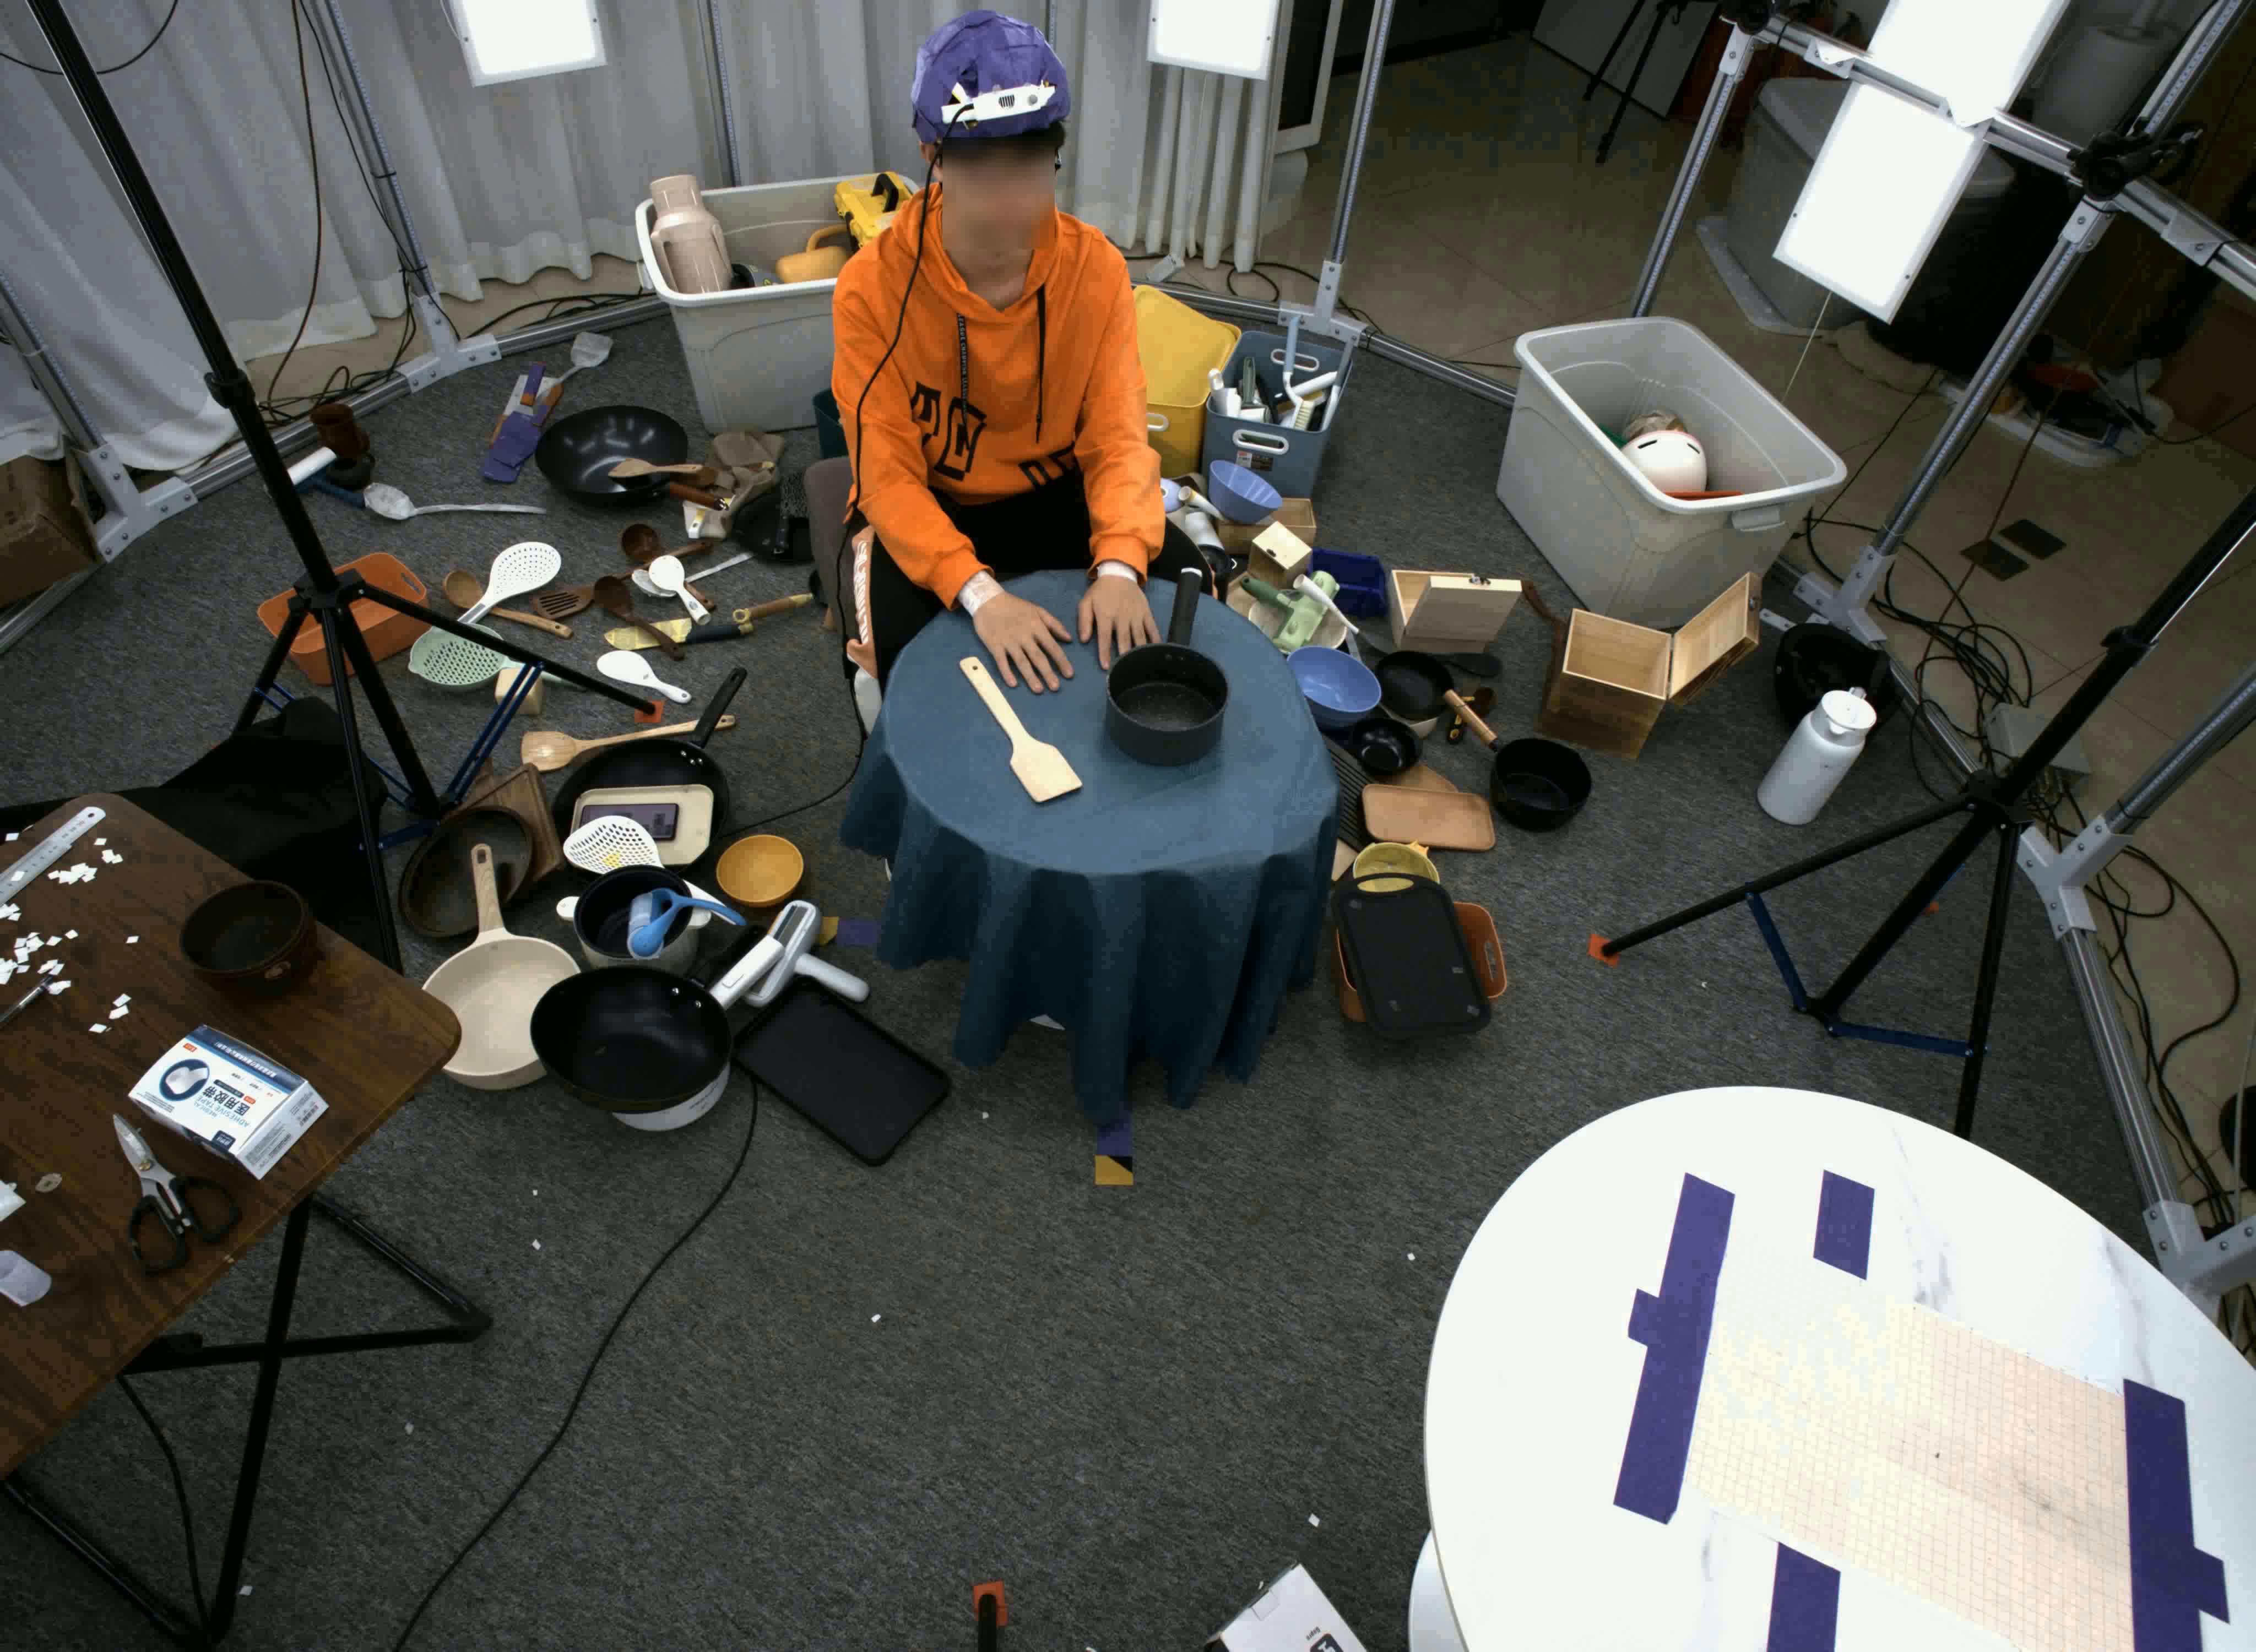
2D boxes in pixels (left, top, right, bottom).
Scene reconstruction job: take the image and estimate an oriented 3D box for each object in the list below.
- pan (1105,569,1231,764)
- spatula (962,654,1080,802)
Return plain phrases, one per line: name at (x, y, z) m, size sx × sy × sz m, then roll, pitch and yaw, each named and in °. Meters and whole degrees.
pan at (0.069, -0.229, 1.818) m, size 0.172 × 0.084 × 0.336 m, roll 12°, pitch 51°, yaw 5°
spatula at (-0.162, -0.142, 1.776) m, size 0.072 × 0.010 × 0.299 m, roll -22°, pitch 54°, yaw -17°
